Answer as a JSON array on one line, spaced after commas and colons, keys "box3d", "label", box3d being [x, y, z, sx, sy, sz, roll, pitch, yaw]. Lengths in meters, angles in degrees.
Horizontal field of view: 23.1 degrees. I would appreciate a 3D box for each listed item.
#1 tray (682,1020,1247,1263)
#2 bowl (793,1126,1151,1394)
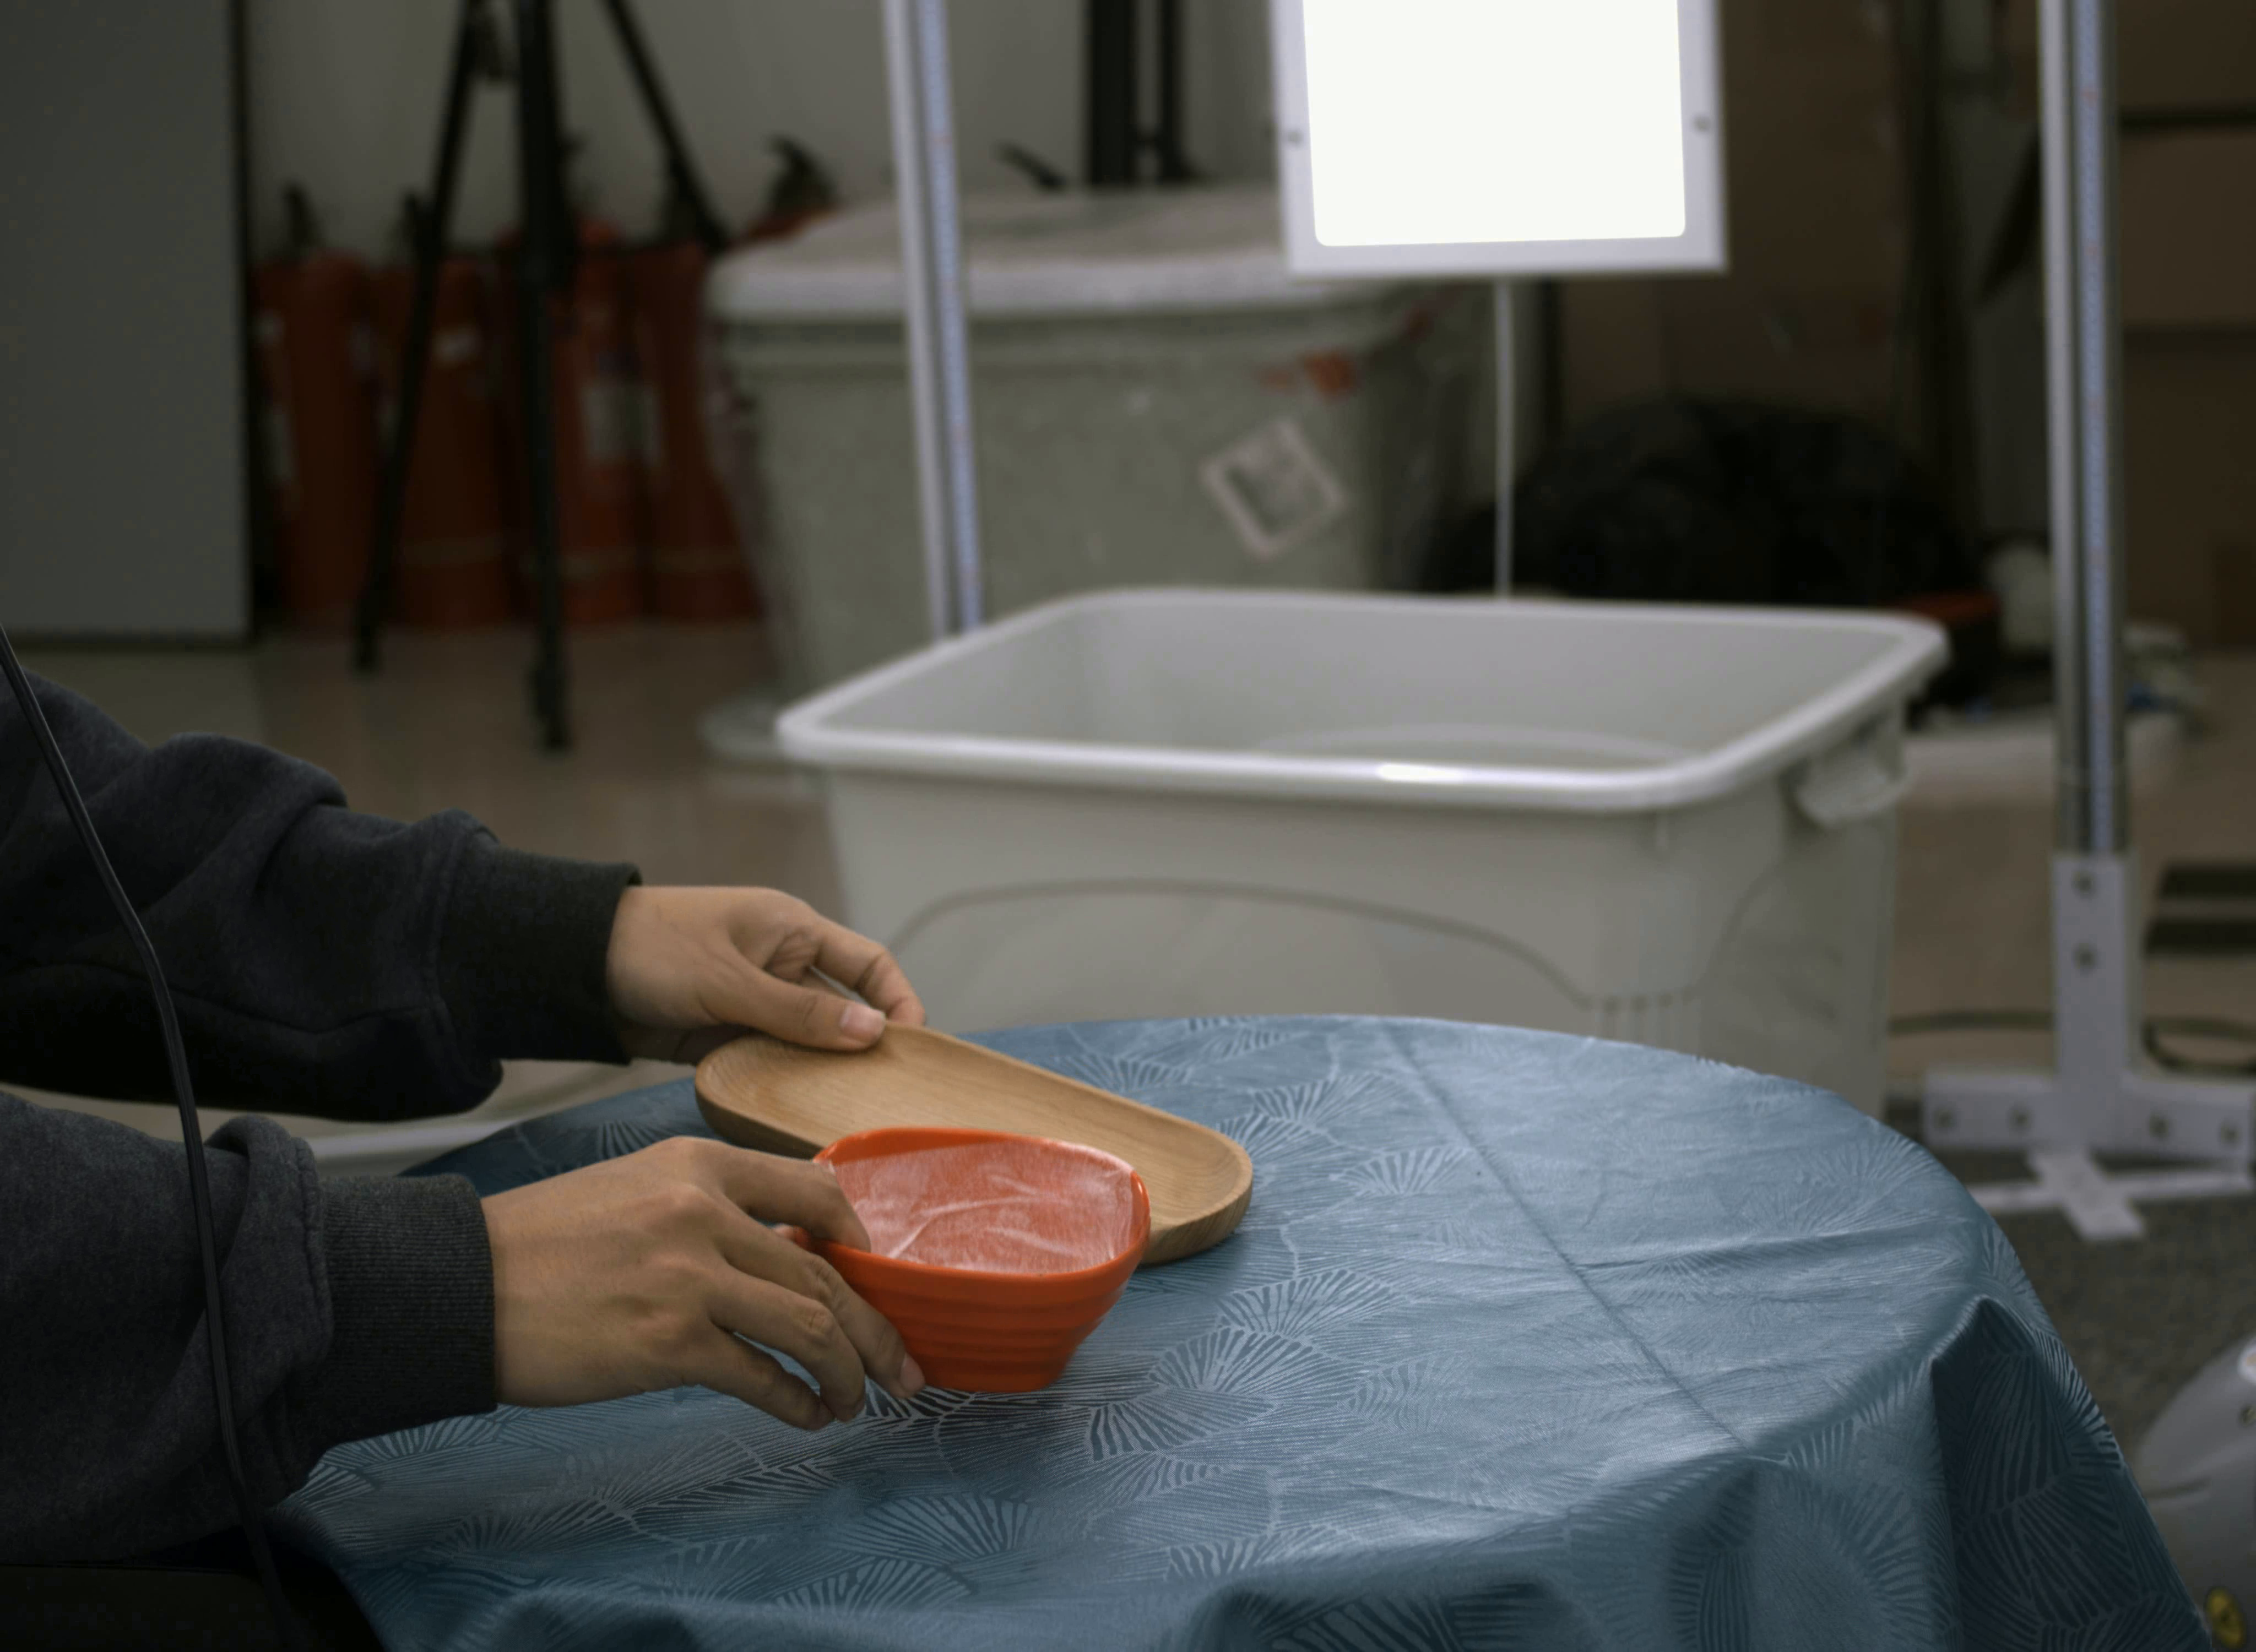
[{"box3d": [-0.058, 0.108, 1.904, 0.236, 0.020, 0.099, 15, 25, 41], "label": "tray"}, {"box3d": [-0.050, 0.137, 1.701, 0.118, 0.052, 0.118, 3, 20, -3], "label": "bowl"}]
